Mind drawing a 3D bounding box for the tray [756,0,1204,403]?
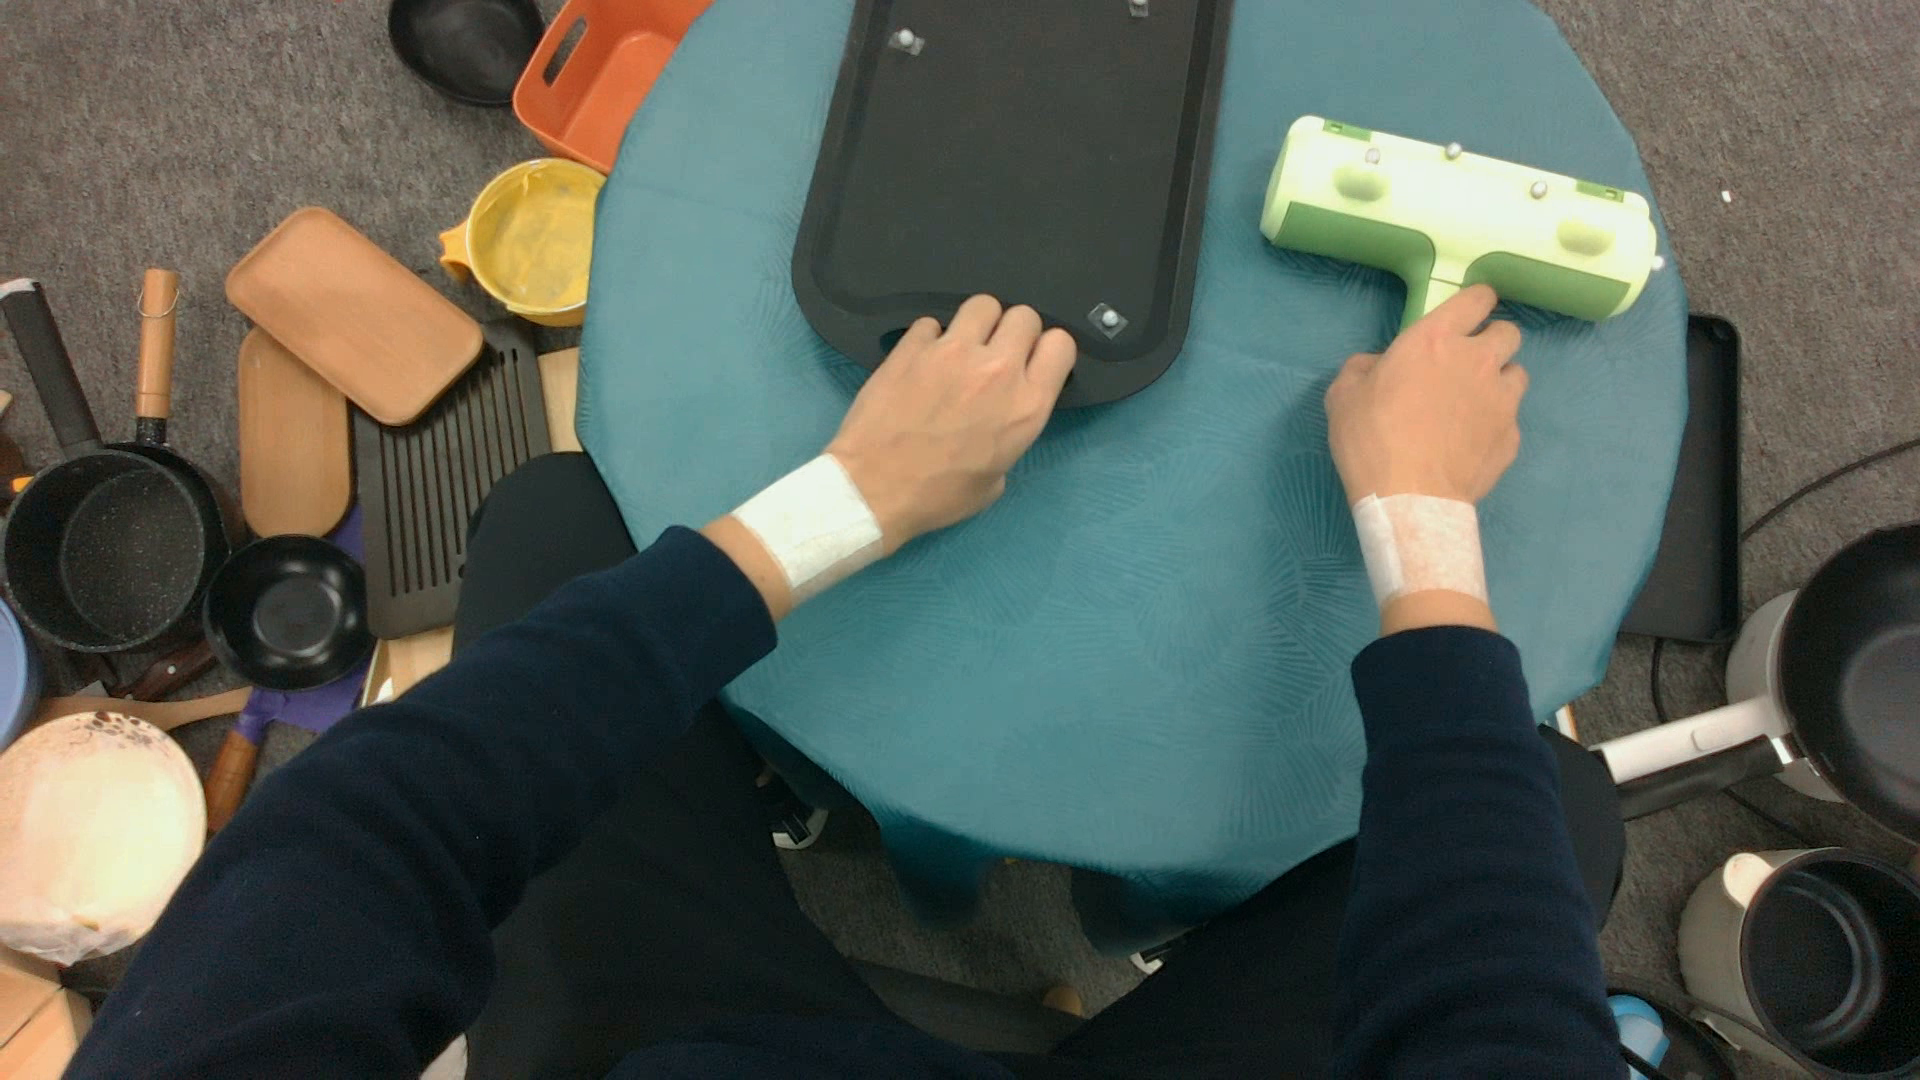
[{"bbox_3d":[0.017,-0.220,0.739,0.211,0.010,0.326,11,68,1],"label":"tray"}]

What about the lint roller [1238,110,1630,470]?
[{"bbox_3d":[0.241,-0.131,0.707,0.198,0.082,0.184,10,68,1],"label":"lint roller"}]
